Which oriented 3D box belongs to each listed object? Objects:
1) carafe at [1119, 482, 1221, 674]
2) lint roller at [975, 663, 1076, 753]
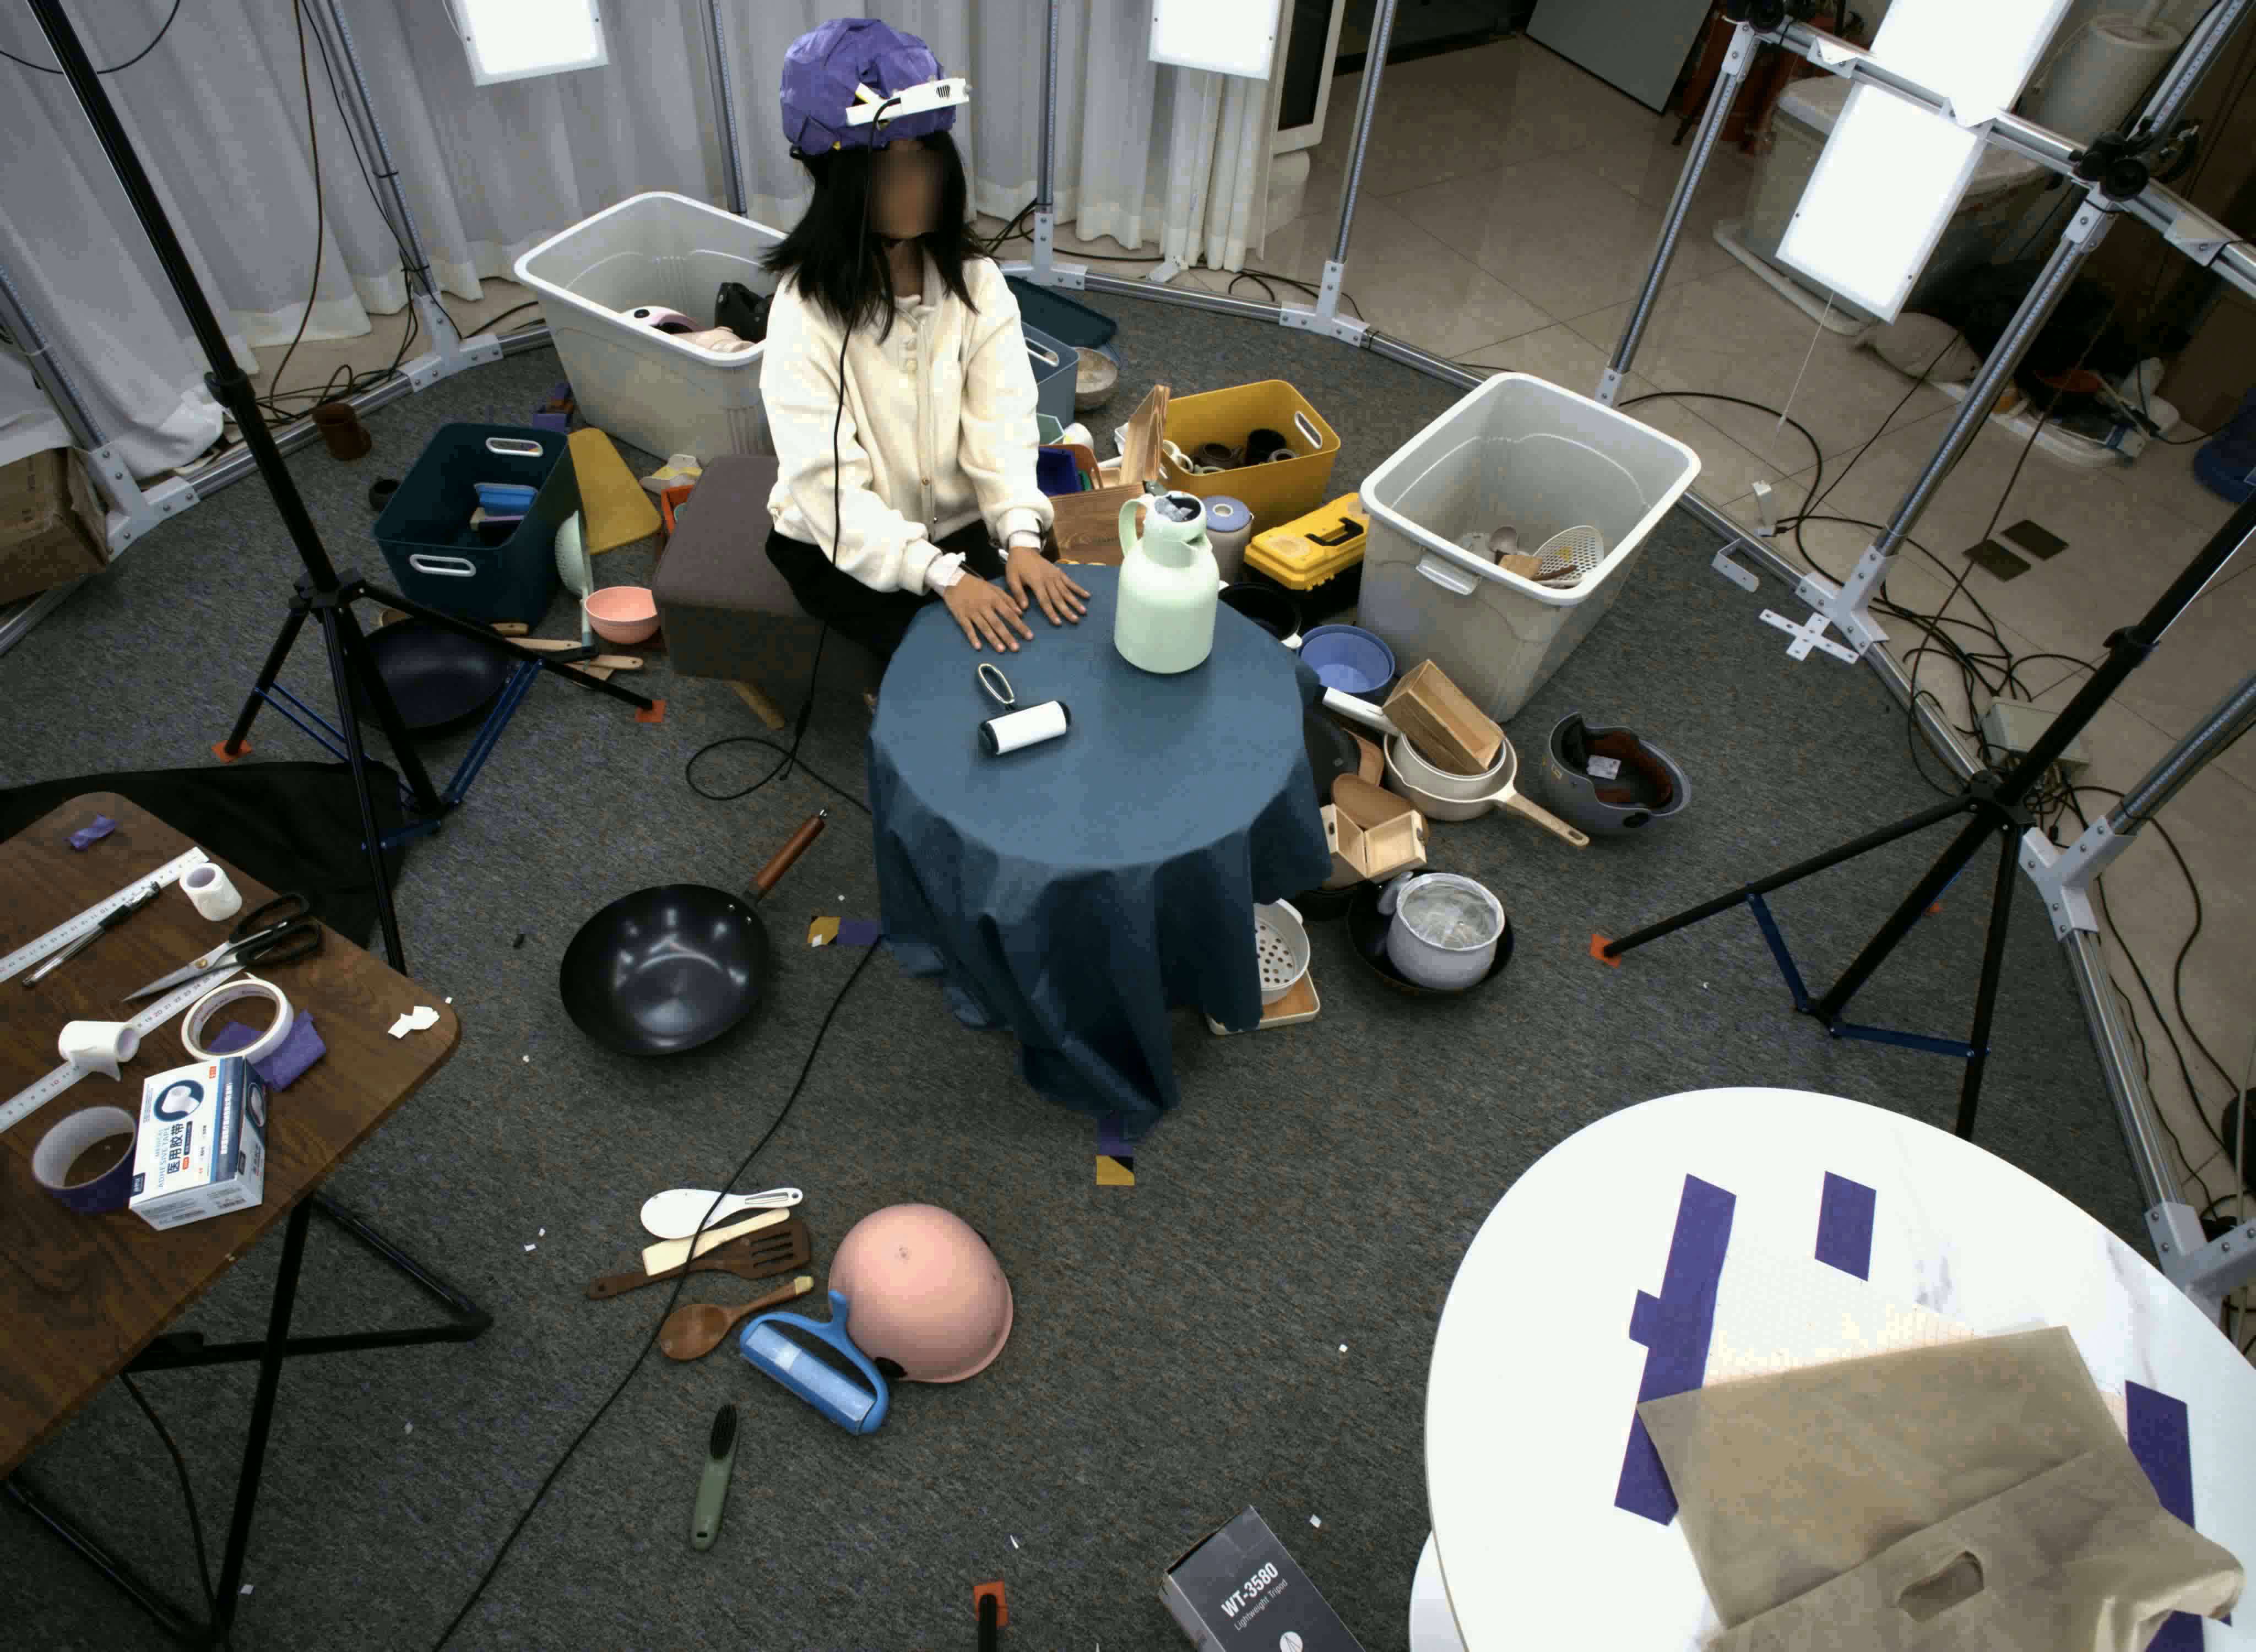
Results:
[{"bbox_3d":[0.052,-0.357,1.822,0.145,0.250,0.190,-26,52,-22],"label":"carafe"},{"bbox_3d":[-0.169,-0.183,1.785,0.134,0.047,0.184,-18,53,-20],"label":"lint roller"}]
